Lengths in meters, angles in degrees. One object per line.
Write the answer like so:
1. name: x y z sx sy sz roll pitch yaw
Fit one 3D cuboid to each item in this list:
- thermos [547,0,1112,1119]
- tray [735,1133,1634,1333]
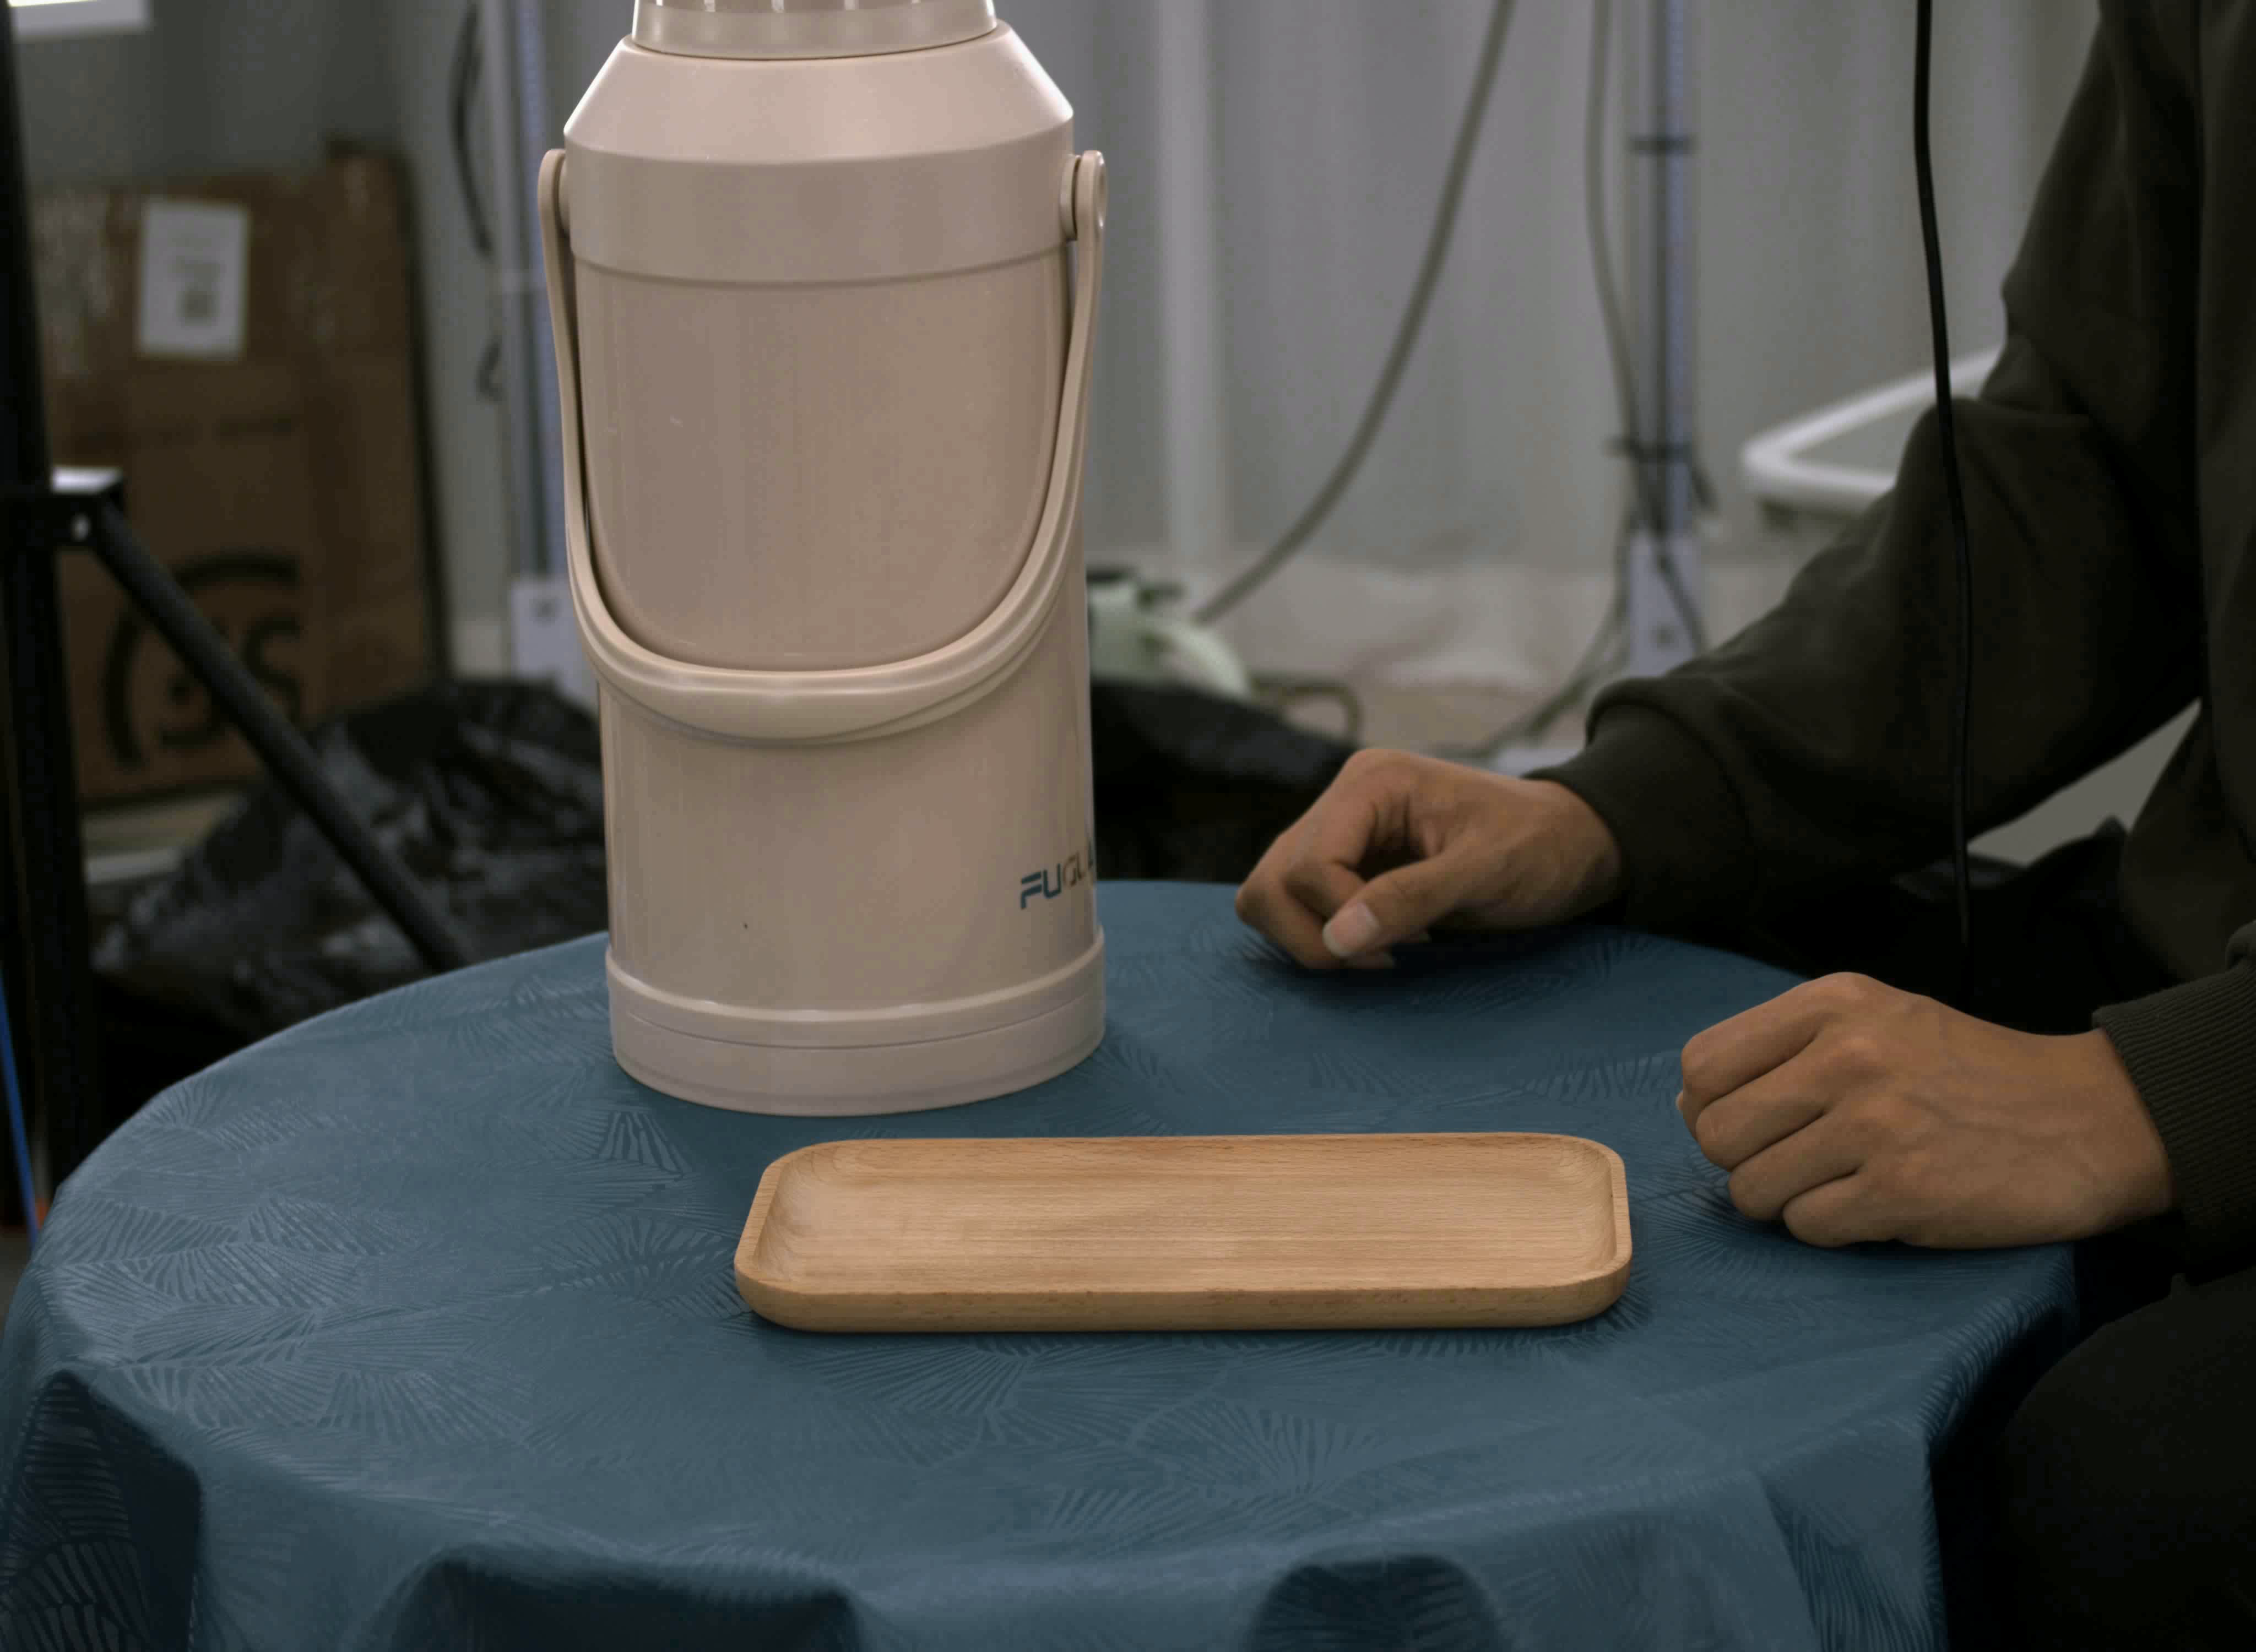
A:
1. thermos: -0.086 -0.126 1.675 0.176 0.406 0.206 0 15 11
2. tray: 0.018 0.115 1.503 0.251 0.023 0.130 0 18 6
